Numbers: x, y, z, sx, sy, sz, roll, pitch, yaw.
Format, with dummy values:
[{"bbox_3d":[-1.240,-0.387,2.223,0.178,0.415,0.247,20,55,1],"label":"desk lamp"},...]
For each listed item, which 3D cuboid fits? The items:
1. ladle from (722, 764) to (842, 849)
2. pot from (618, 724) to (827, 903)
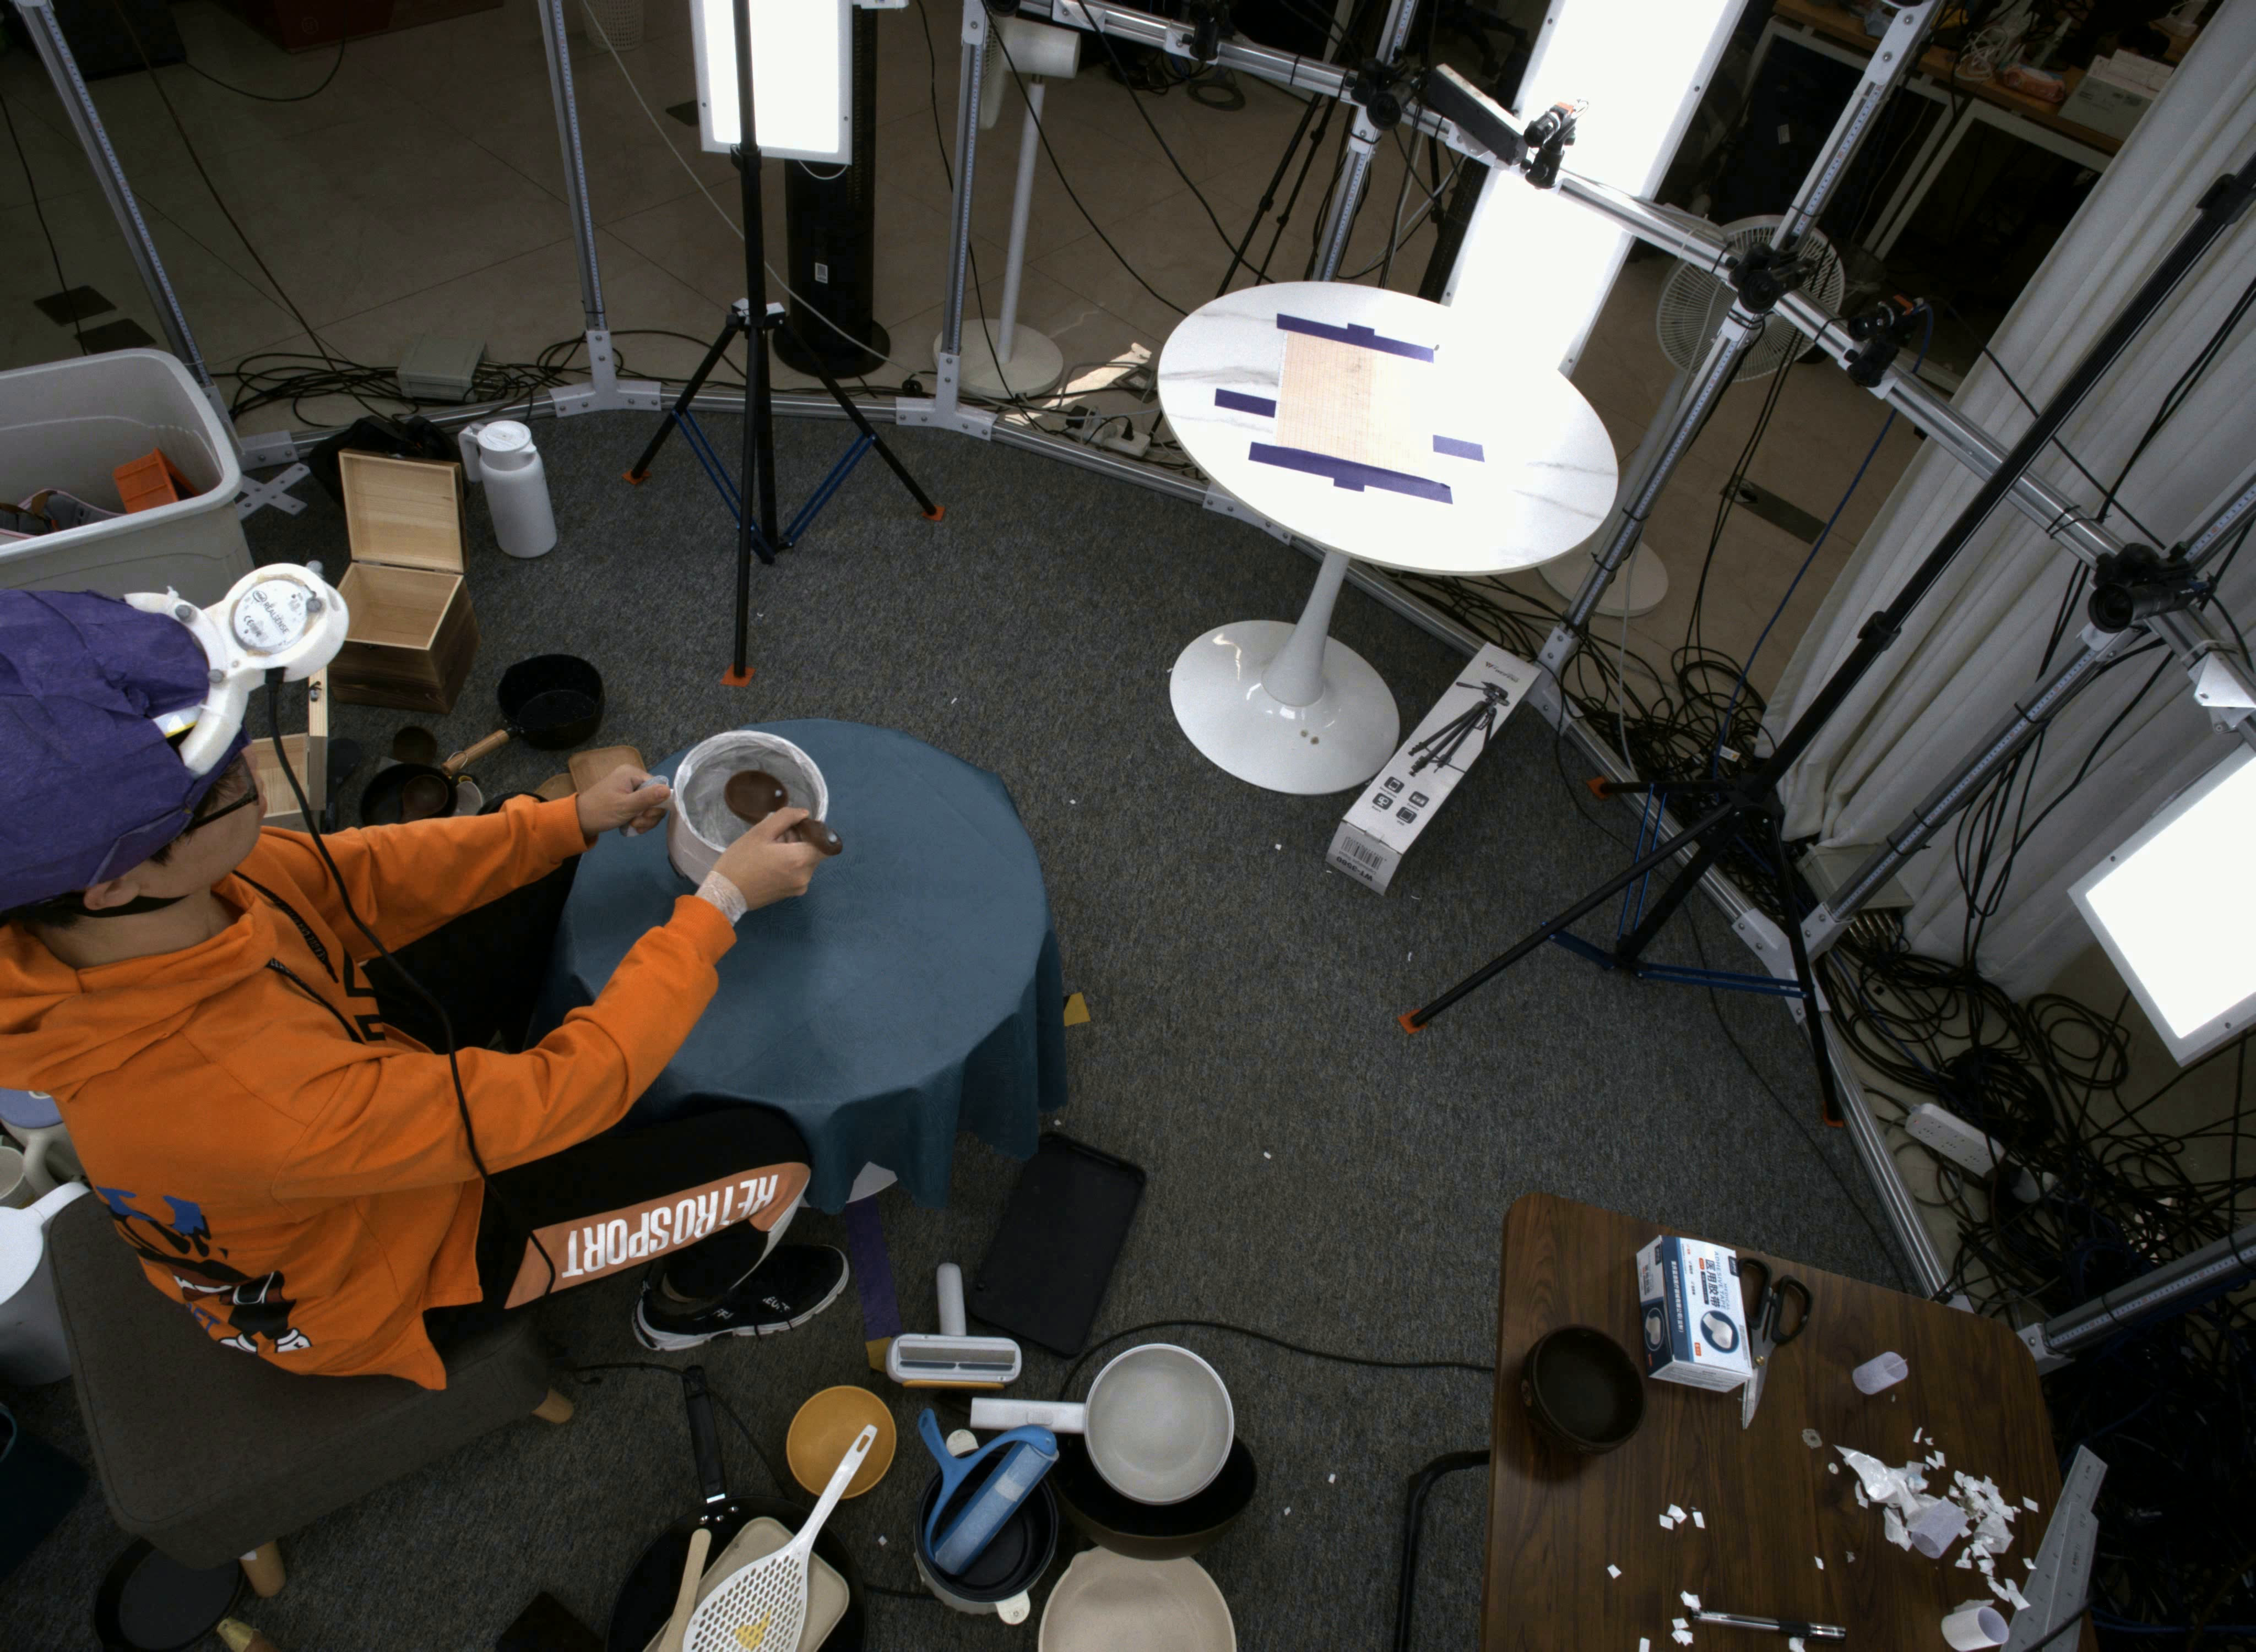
[{"bbox_3d":[-0.379,-0.025,1.431,0.077,0.067,0.251,-16,17,-34],"label":"ladle"},{"bbox_3d":[-0.484,-0.013,1.528,0.236,0.137,0.176,6,58,-23],"label":"pot"}]
